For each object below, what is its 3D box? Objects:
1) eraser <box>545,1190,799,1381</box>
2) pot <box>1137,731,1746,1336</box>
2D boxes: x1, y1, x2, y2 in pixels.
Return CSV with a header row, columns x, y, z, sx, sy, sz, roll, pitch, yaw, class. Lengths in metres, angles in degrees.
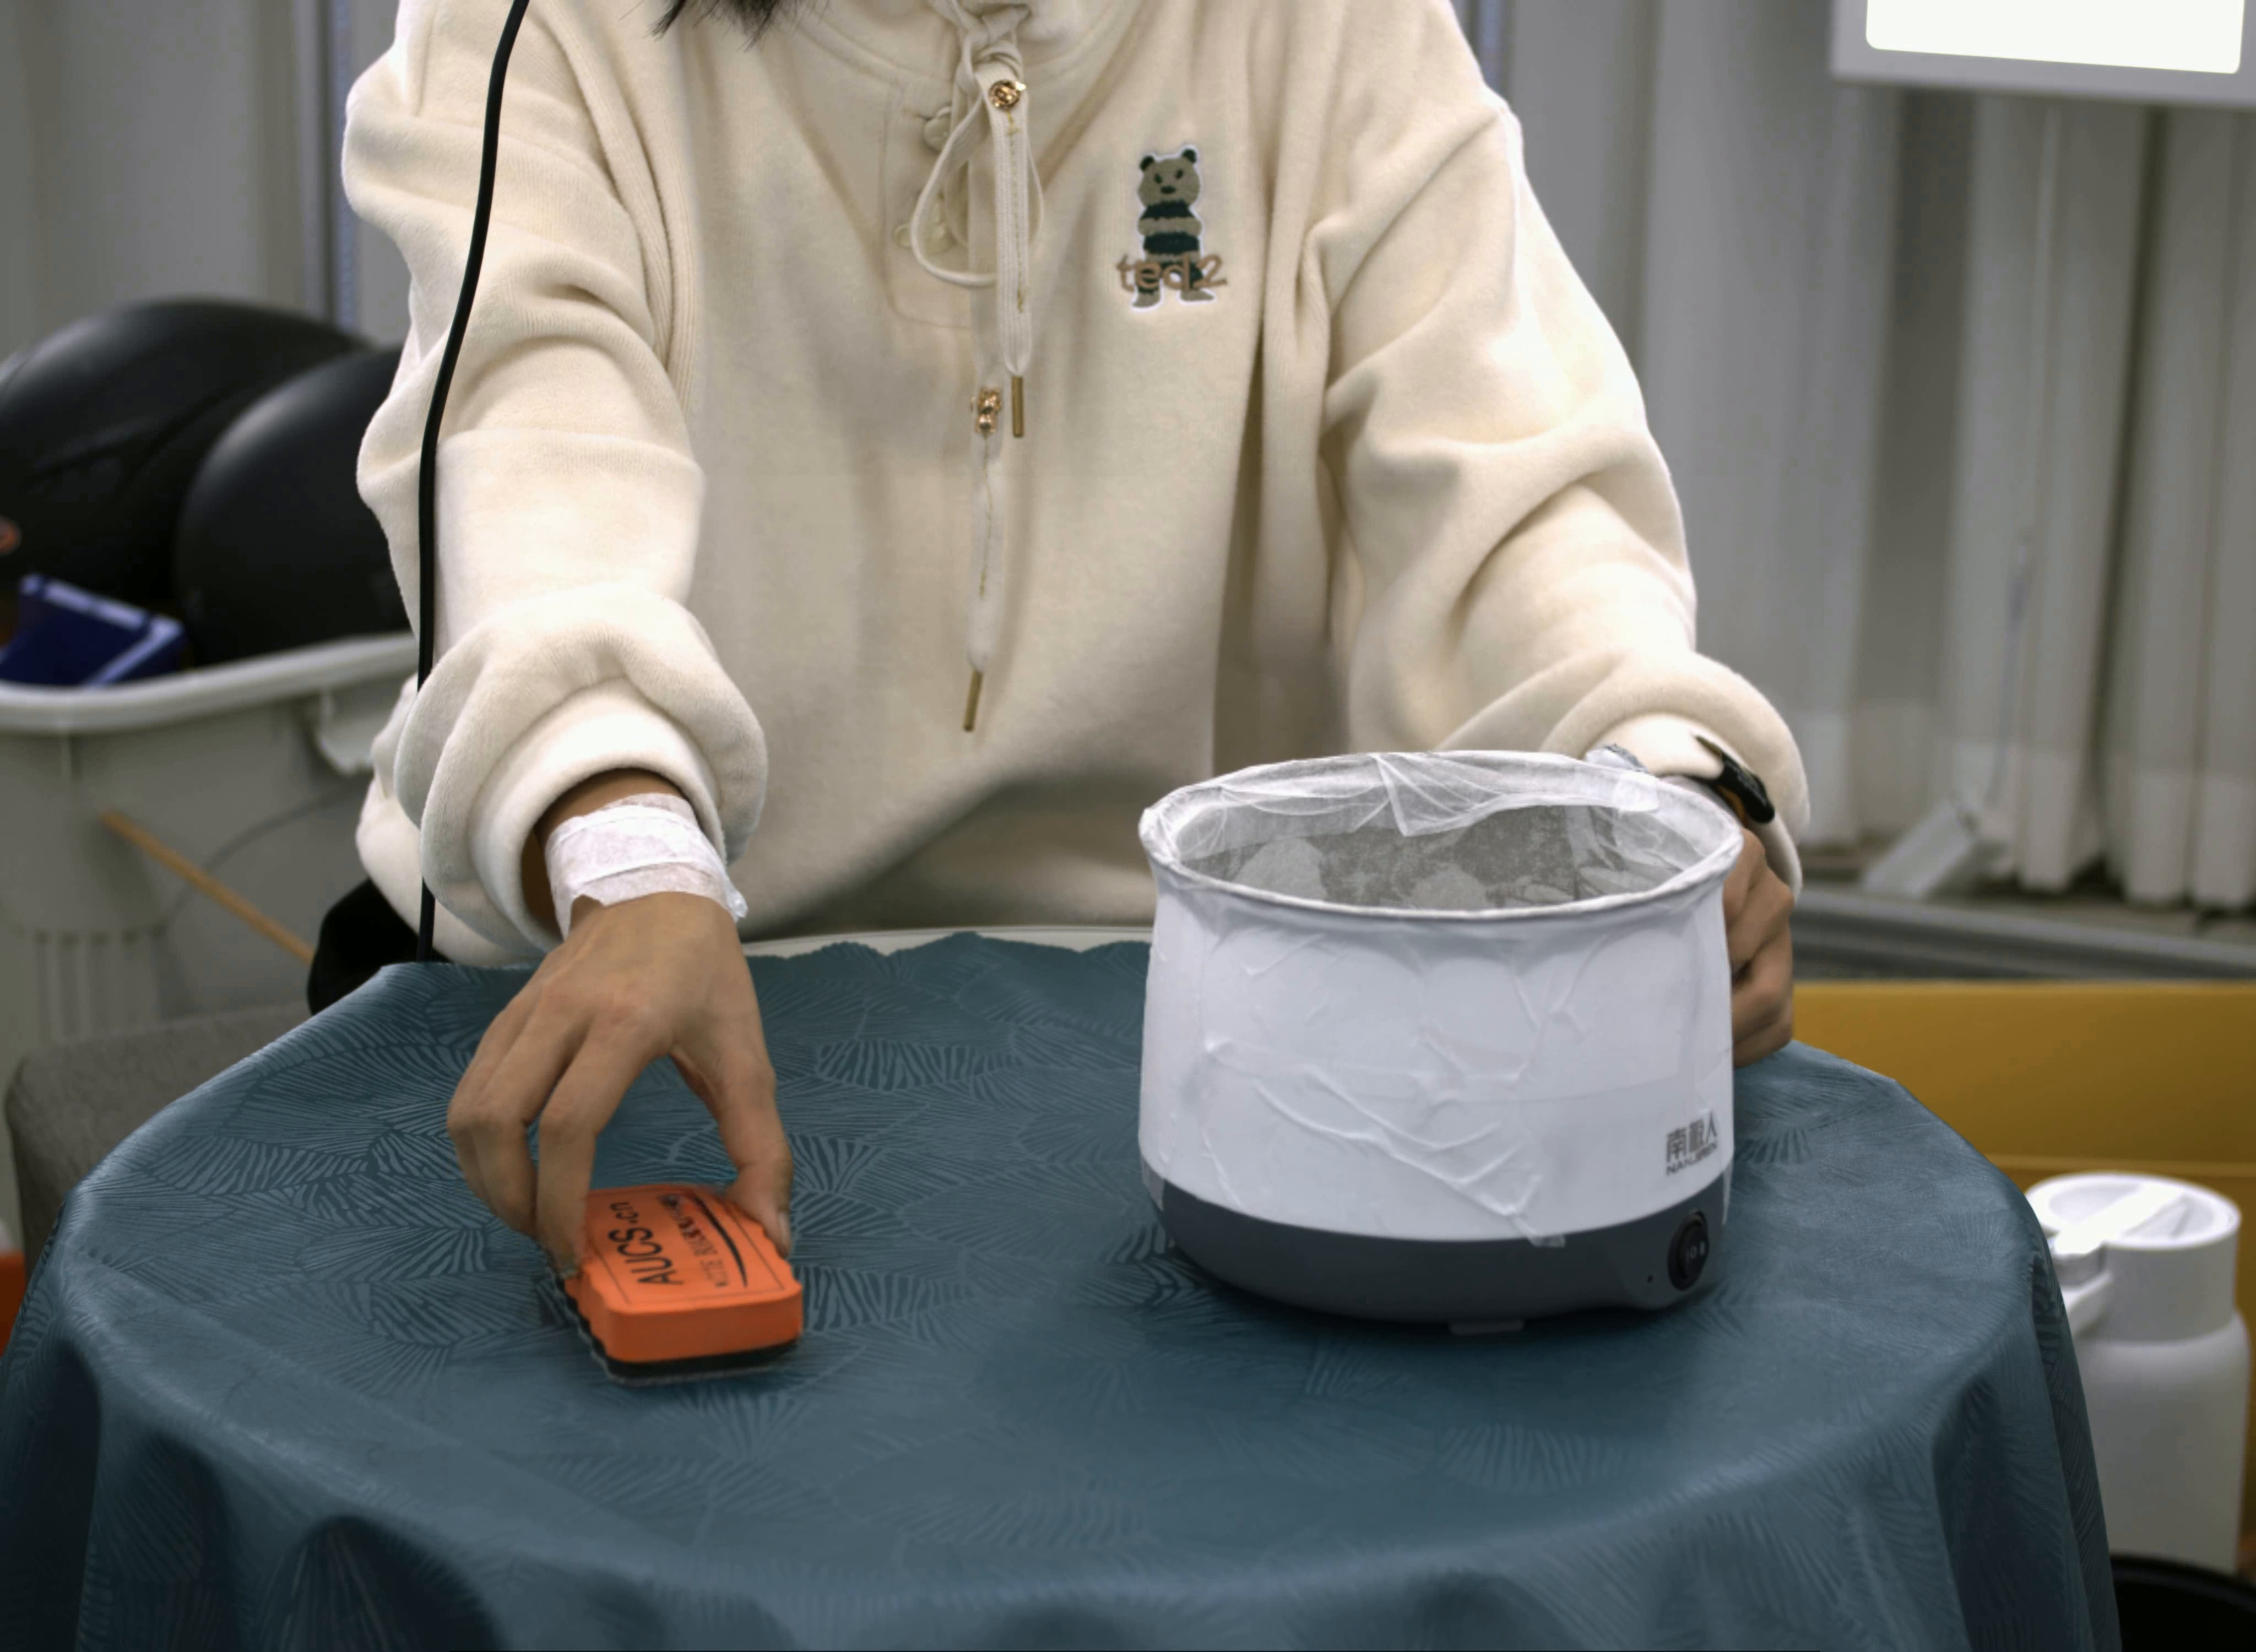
x,y,z,sx,sy,sz,roll,pitch,yaw,class
-0.131,0.131,1.508,0.059,0.023,0.107,1,14,-17,eraser
0.106,0.053,1.571,0.176,0.138,0.234,12,21,31,pot
